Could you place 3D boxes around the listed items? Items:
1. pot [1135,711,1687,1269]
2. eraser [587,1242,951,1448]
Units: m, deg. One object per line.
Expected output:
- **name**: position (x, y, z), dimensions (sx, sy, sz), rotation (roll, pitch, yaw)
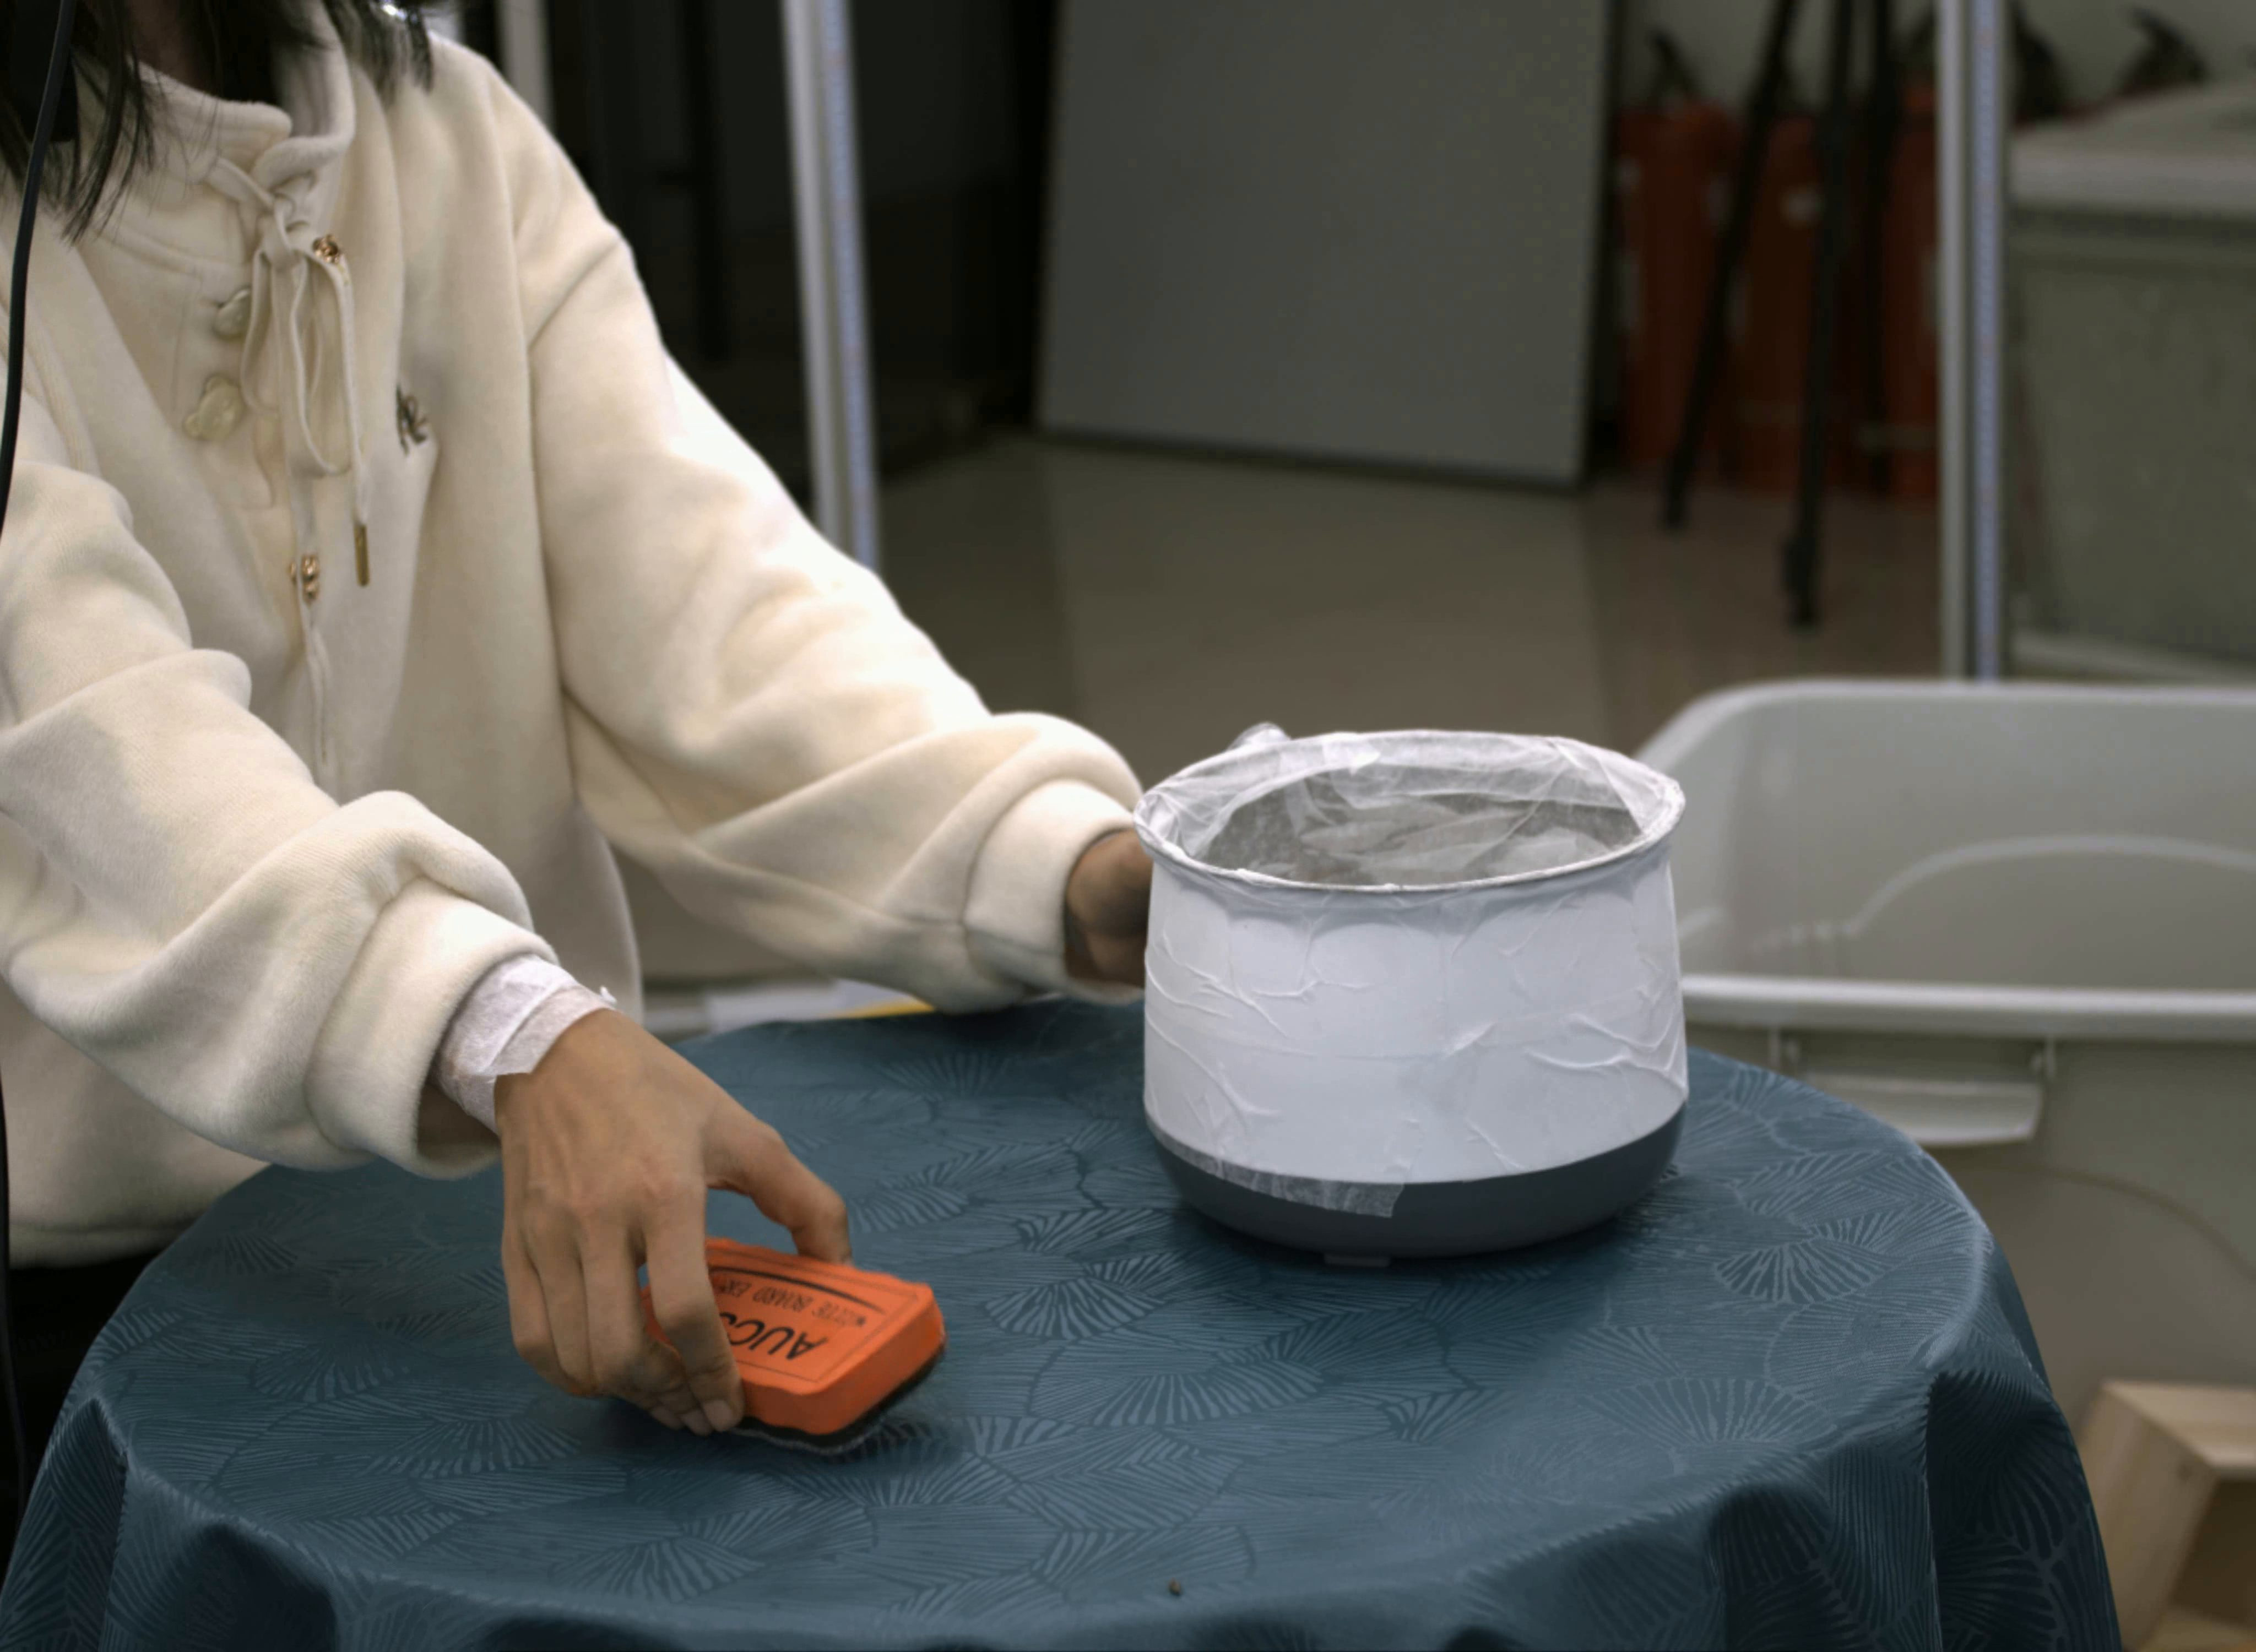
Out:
- **pot**: position (0.078, 0.046, 1.747), dimensions (0.175, 0.138, 0.236), rotation (-11, 18, -25)
- **eraser**: position (-0.105, 0.151, 1.584), dimensions (0.109, 0.023, 0.058), rotation (6, 33, 46)
